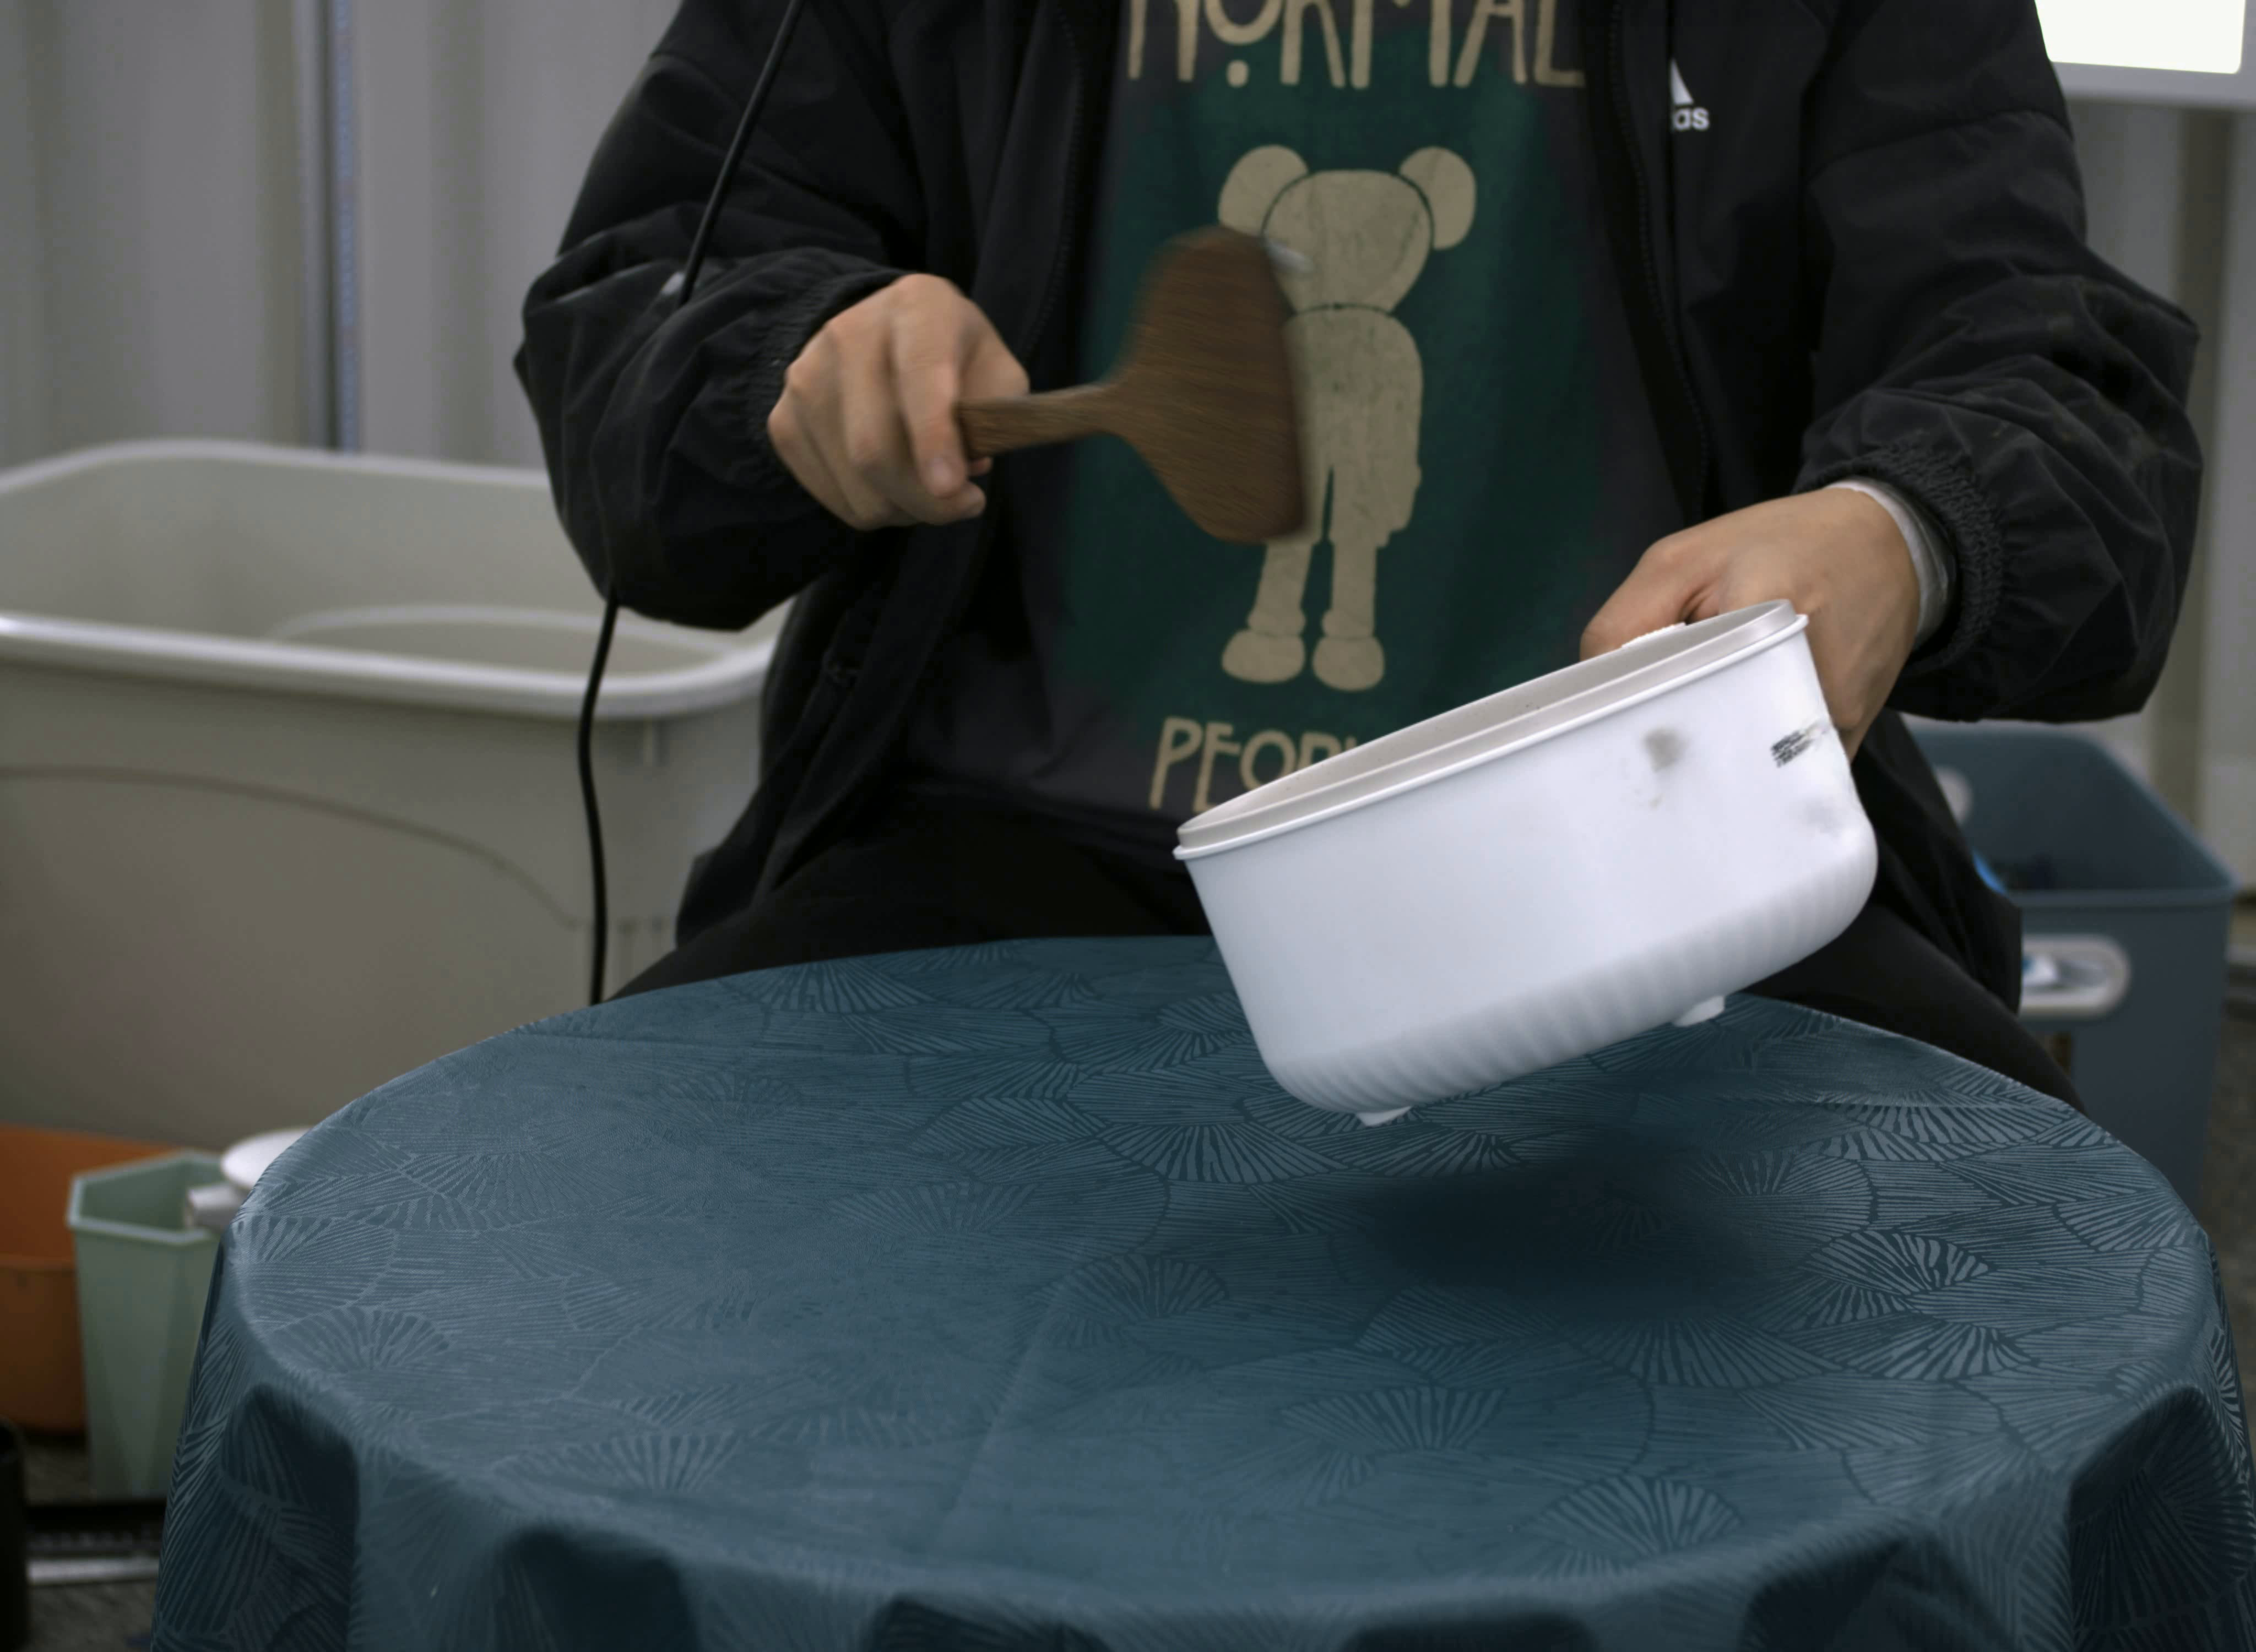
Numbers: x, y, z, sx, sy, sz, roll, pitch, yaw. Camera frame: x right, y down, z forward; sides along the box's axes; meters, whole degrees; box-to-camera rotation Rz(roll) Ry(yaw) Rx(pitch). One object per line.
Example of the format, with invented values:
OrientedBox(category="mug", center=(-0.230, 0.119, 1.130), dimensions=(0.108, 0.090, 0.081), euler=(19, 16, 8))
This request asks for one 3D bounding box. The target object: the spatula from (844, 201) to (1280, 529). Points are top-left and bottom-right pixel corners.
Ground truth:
OrientedBox(category="spatula", center=(-0.030, -0.134, 1.693), dimensions=(0.016, 0.096, 0.383), euler=(-14, 5, -19))

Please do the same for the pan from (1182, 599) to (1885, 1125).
OrientedBox(category="pan", center=(0.156, 0.002, 1.636), dimensions=(0.200, 0.102, 0.356), euler=(-21, 1, 25))
